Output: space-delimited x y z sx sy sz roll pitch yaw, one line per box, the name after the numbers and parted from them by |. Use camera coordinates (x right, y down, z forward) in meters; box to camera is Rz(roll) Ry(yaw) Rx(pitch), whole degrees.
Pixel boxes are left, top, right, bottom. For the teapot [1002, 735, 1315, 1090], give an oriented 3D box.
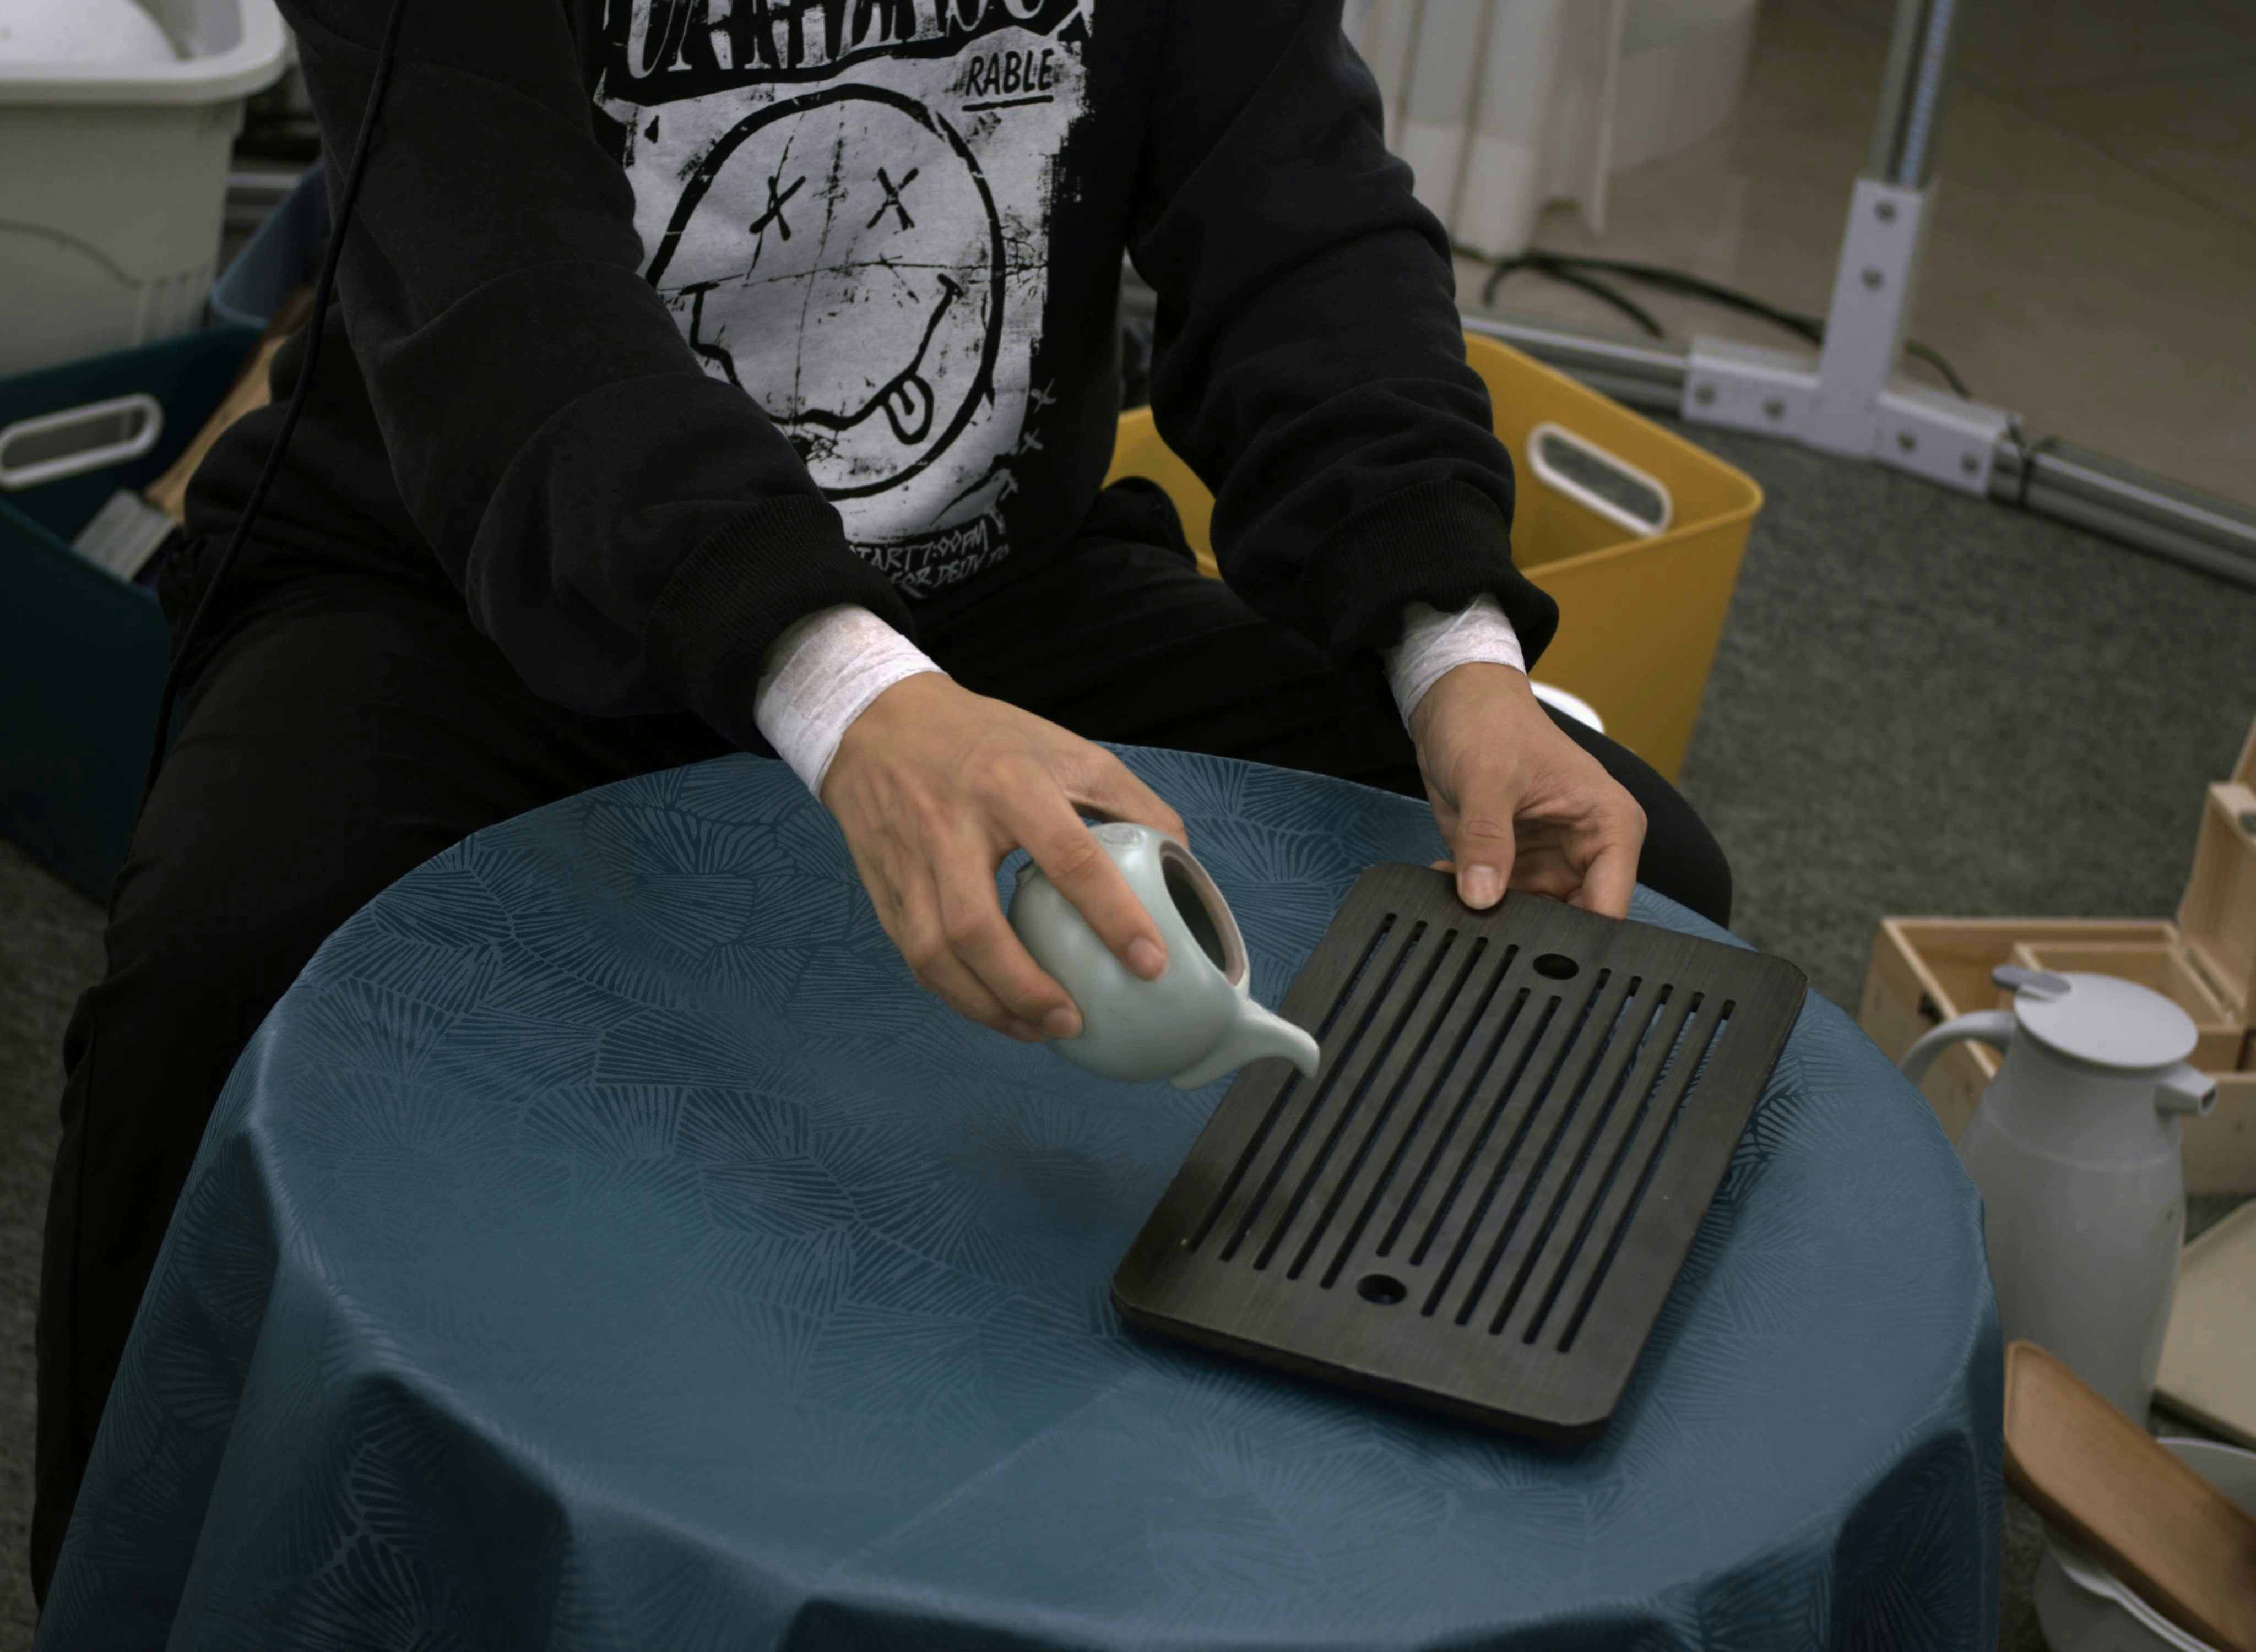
0.000 0.041 1.769 0.075 0.143 0.088 -27 17 16 | teapot

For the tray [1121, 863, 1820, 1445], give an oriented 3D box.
0.123 0.108 1.821 0.170 0.018 0.306 14 32 15 | tray
